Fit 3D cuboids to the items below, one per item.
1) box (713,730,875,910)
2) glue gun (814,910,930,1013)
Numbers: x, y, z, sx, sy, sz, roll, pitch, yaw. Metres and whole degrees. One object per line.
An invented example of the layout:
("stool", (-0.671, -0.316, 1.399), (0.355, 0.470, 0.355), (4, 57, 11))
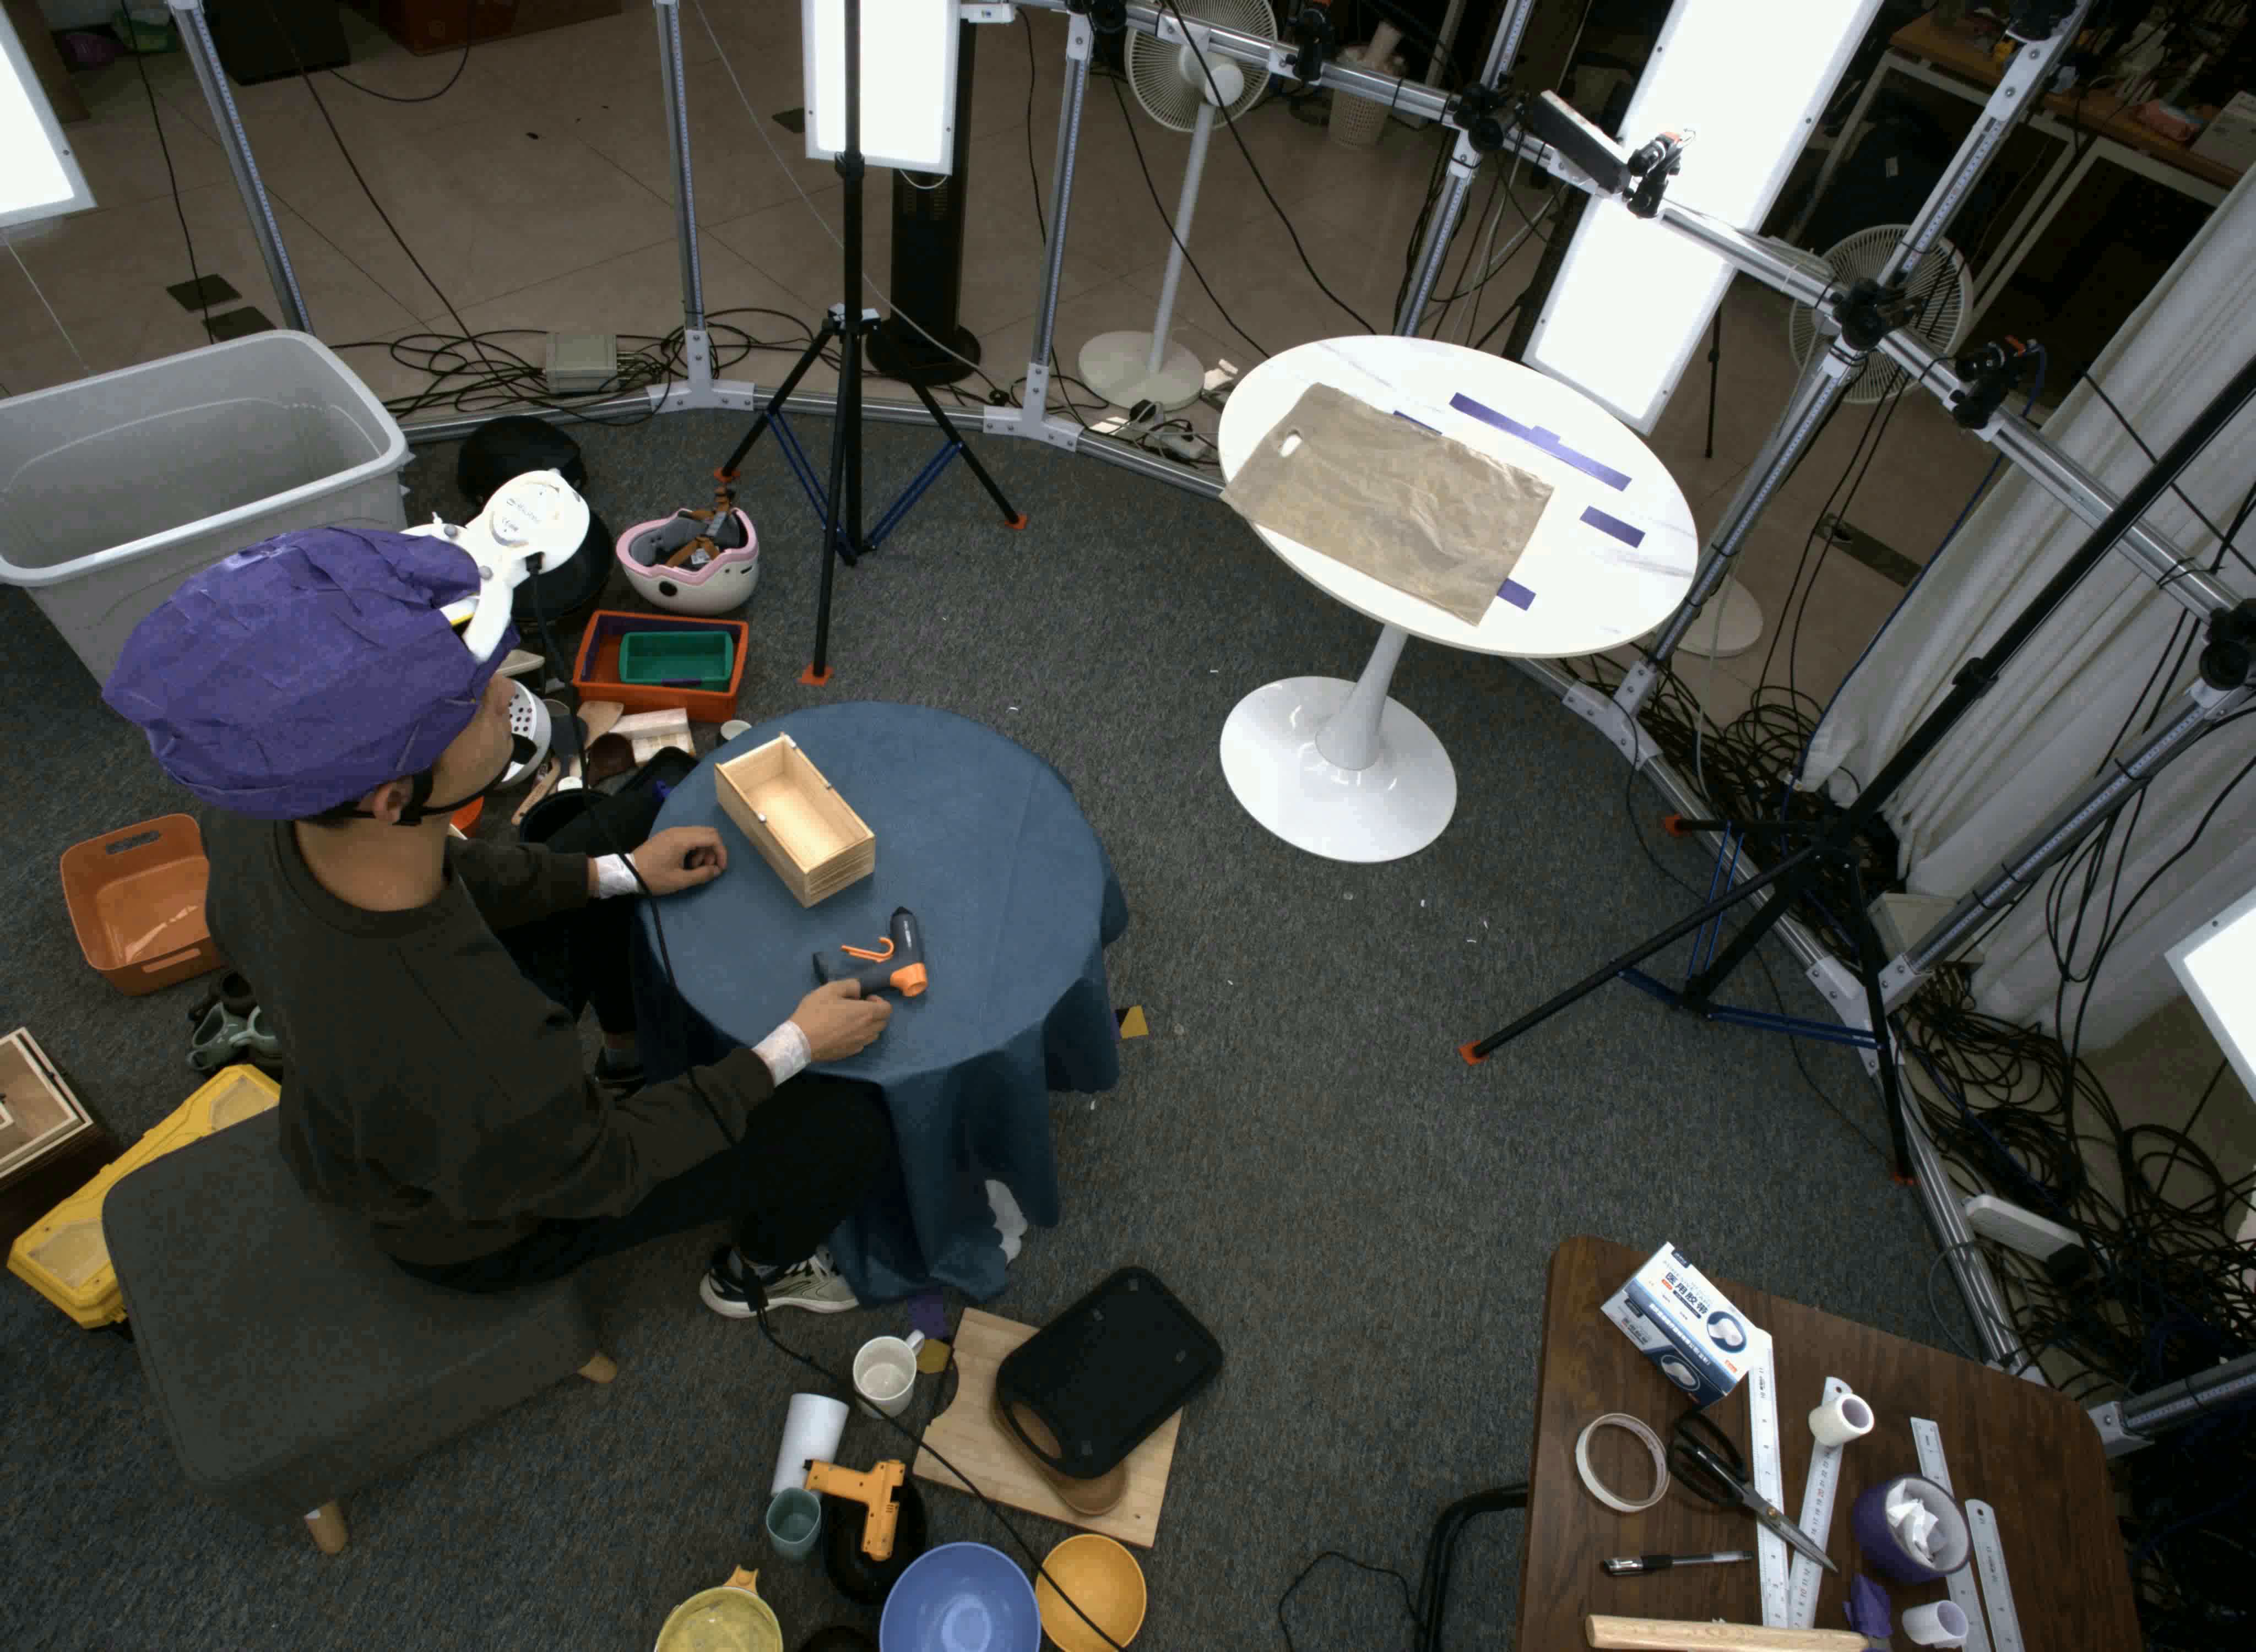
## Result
("box", (-0.432, -0.010, 1.674), (0.108, 0.082, 0.206), (-33, 67, -30))
("glue gun", (-0.311, 0.166, 1.605), (0.140, 0.042, 0.115), (-20, 59, -28))
